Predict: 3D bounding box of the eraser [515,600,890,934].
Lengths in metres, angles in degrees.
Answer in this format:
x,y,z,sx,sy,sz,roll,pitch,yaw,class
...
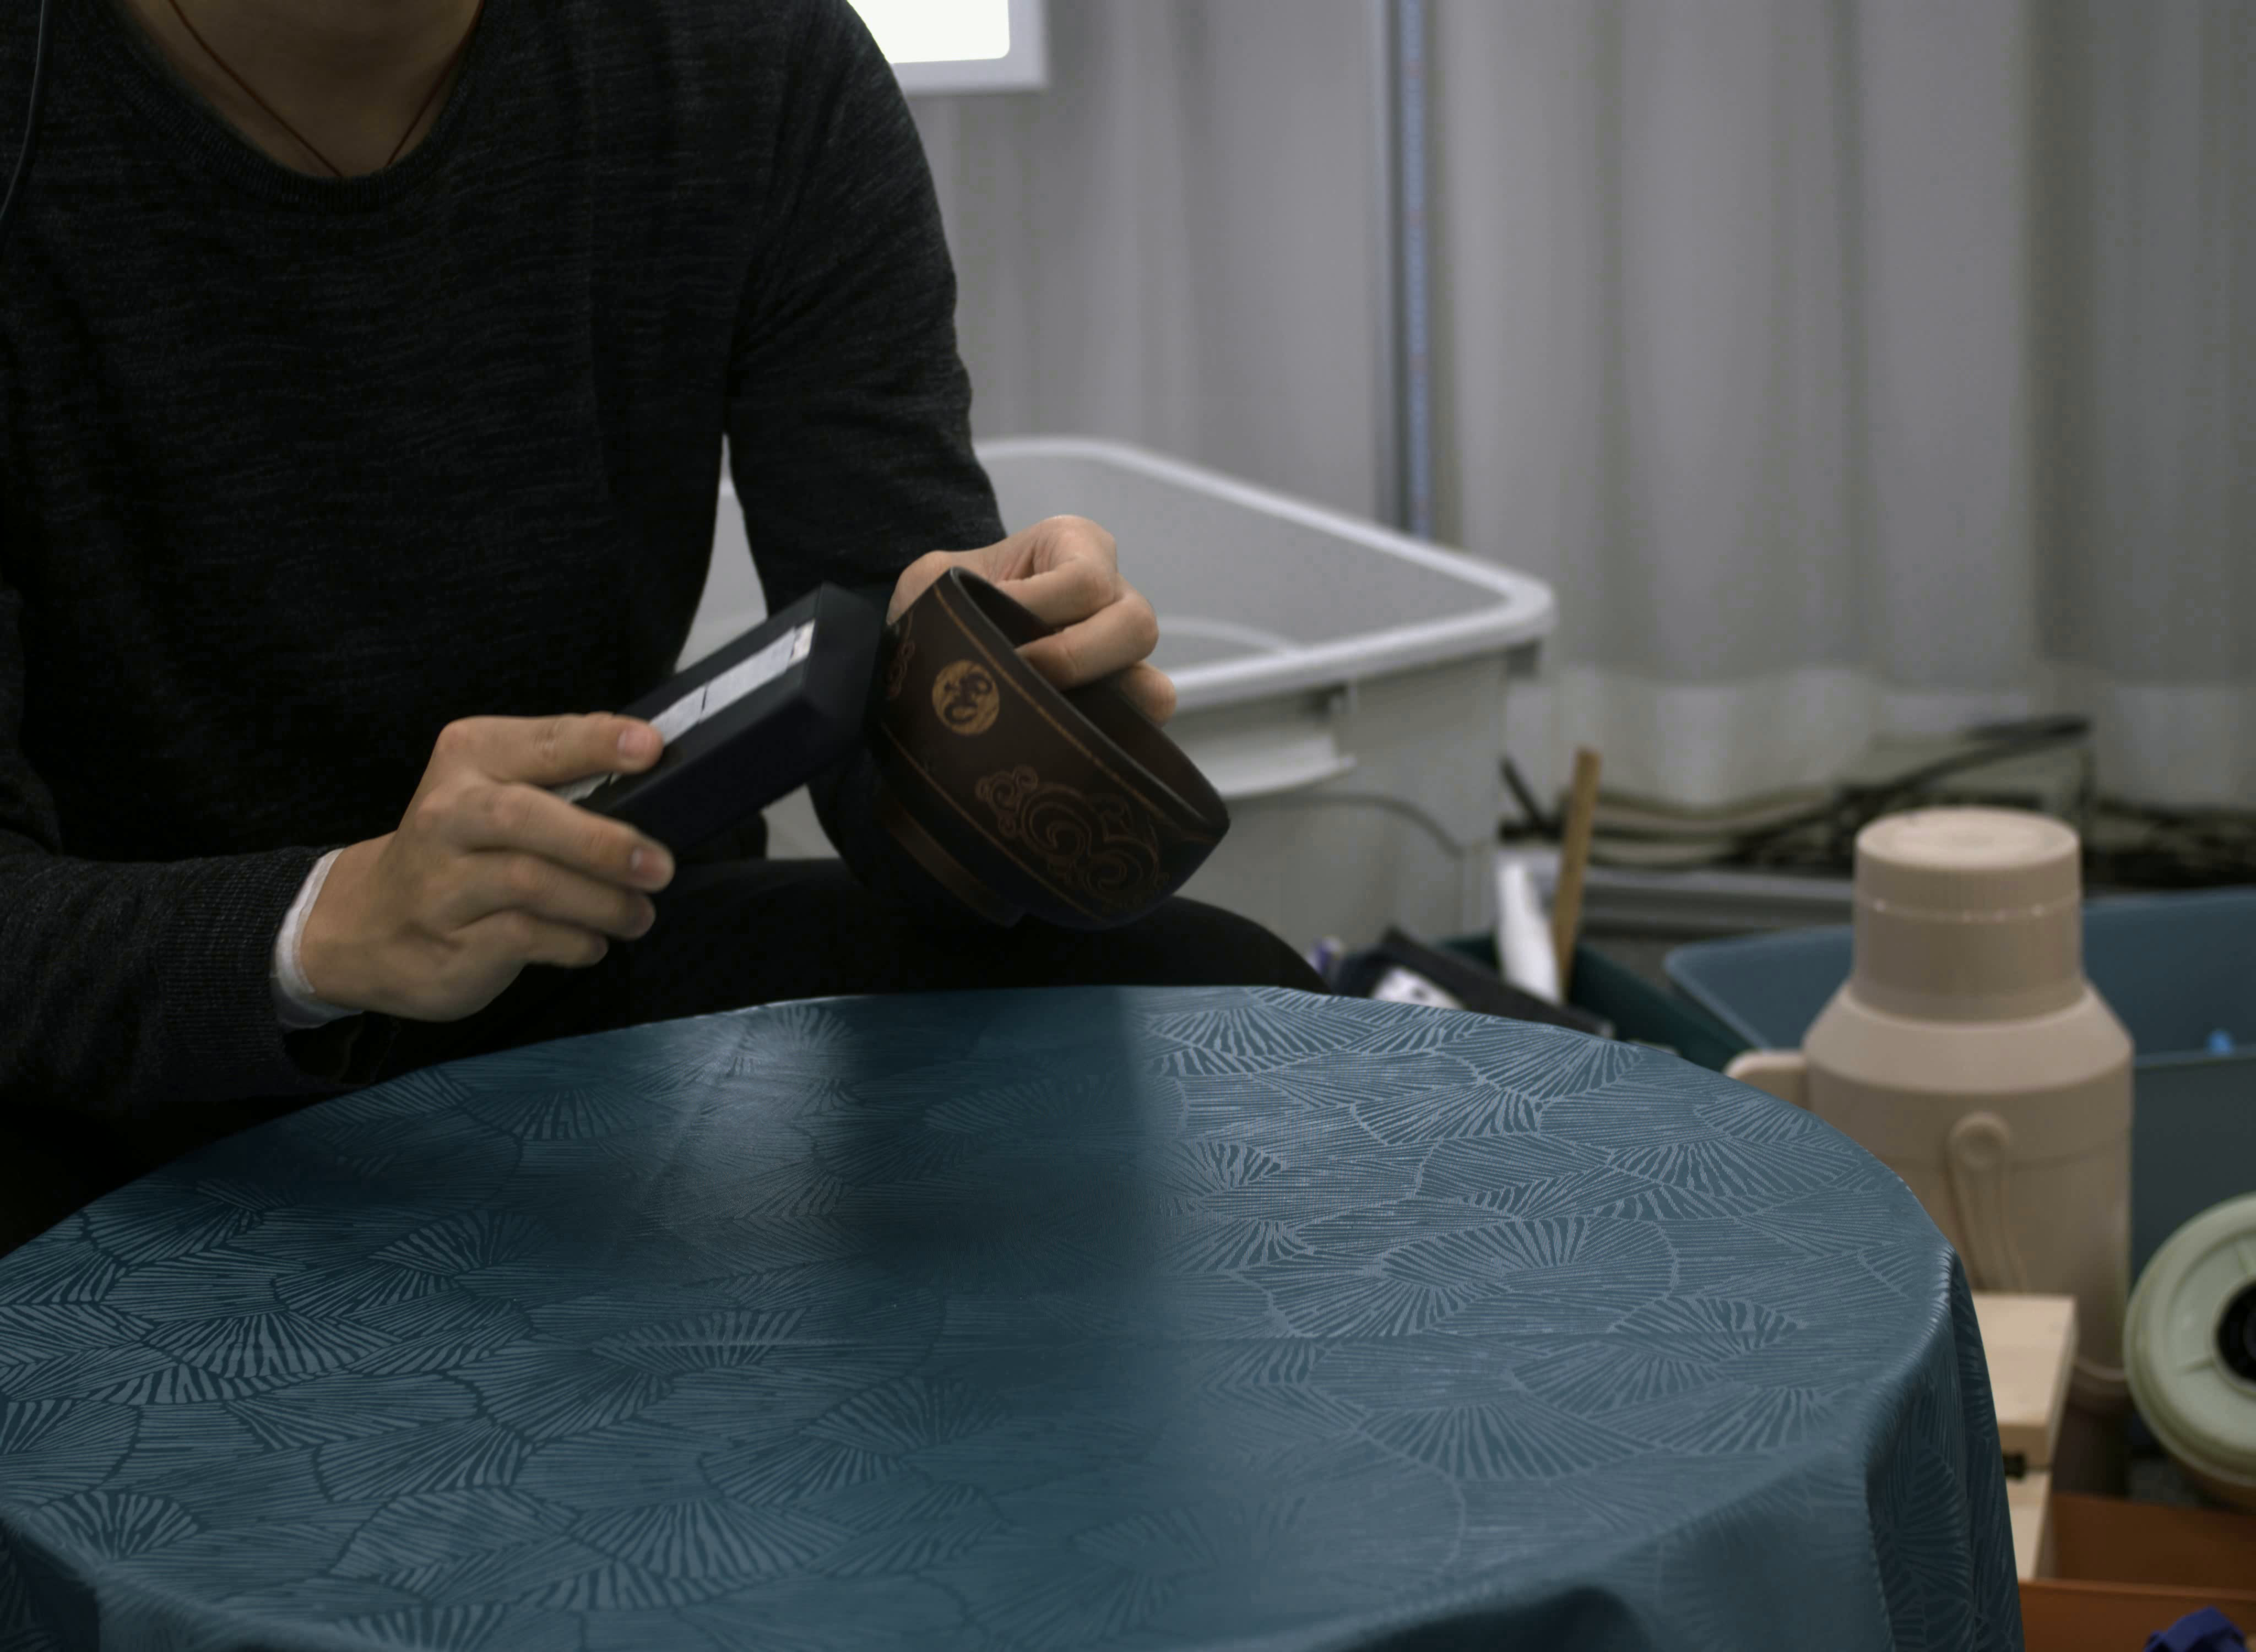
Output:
x,y,z,sx,sy,sz,roll,pitch,yaw,class
-0.125,-0.018,1.611,0.125,0.030,0.054,-31,30,30,eraser

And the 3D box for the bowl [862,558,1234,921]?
x,y,z,sx,sy,sz,roll,pitch,yaw,class
-0.033,-0.017,1.627,0.117,0.070,0.118,39,9,-8,bowl
